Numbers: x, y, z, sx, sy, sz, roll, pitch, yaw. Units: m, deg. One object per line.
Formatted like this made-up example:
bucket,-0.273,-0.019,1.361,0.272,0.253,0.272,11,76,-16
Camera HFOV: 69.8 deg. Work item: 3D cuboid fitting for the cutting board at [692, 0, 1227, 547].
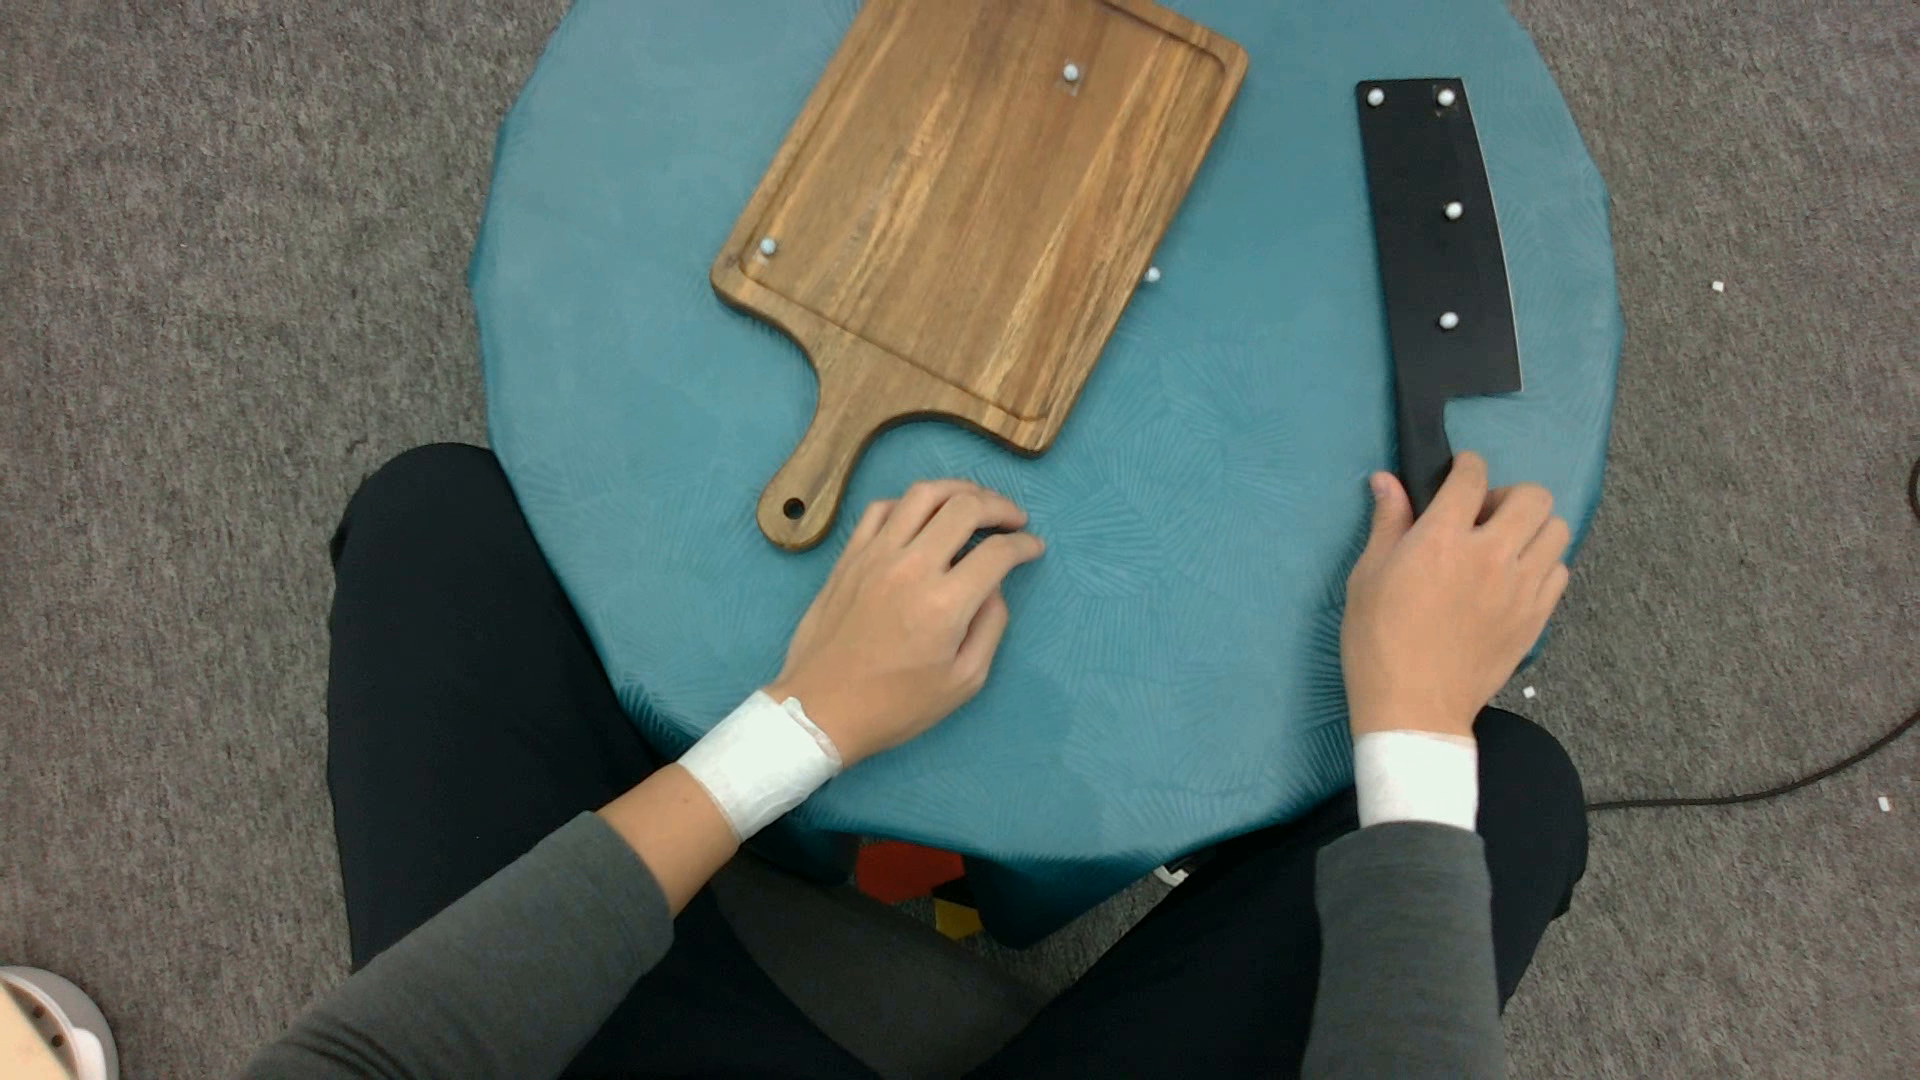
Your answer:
cutting board,-0.019,-0.155,0.714,0.201,0.023,0.353,27,79,3

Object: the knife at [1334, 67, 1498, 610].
knife,0.244,-0.113,0.725,0.081,0.021,0.303,1,78,-4
